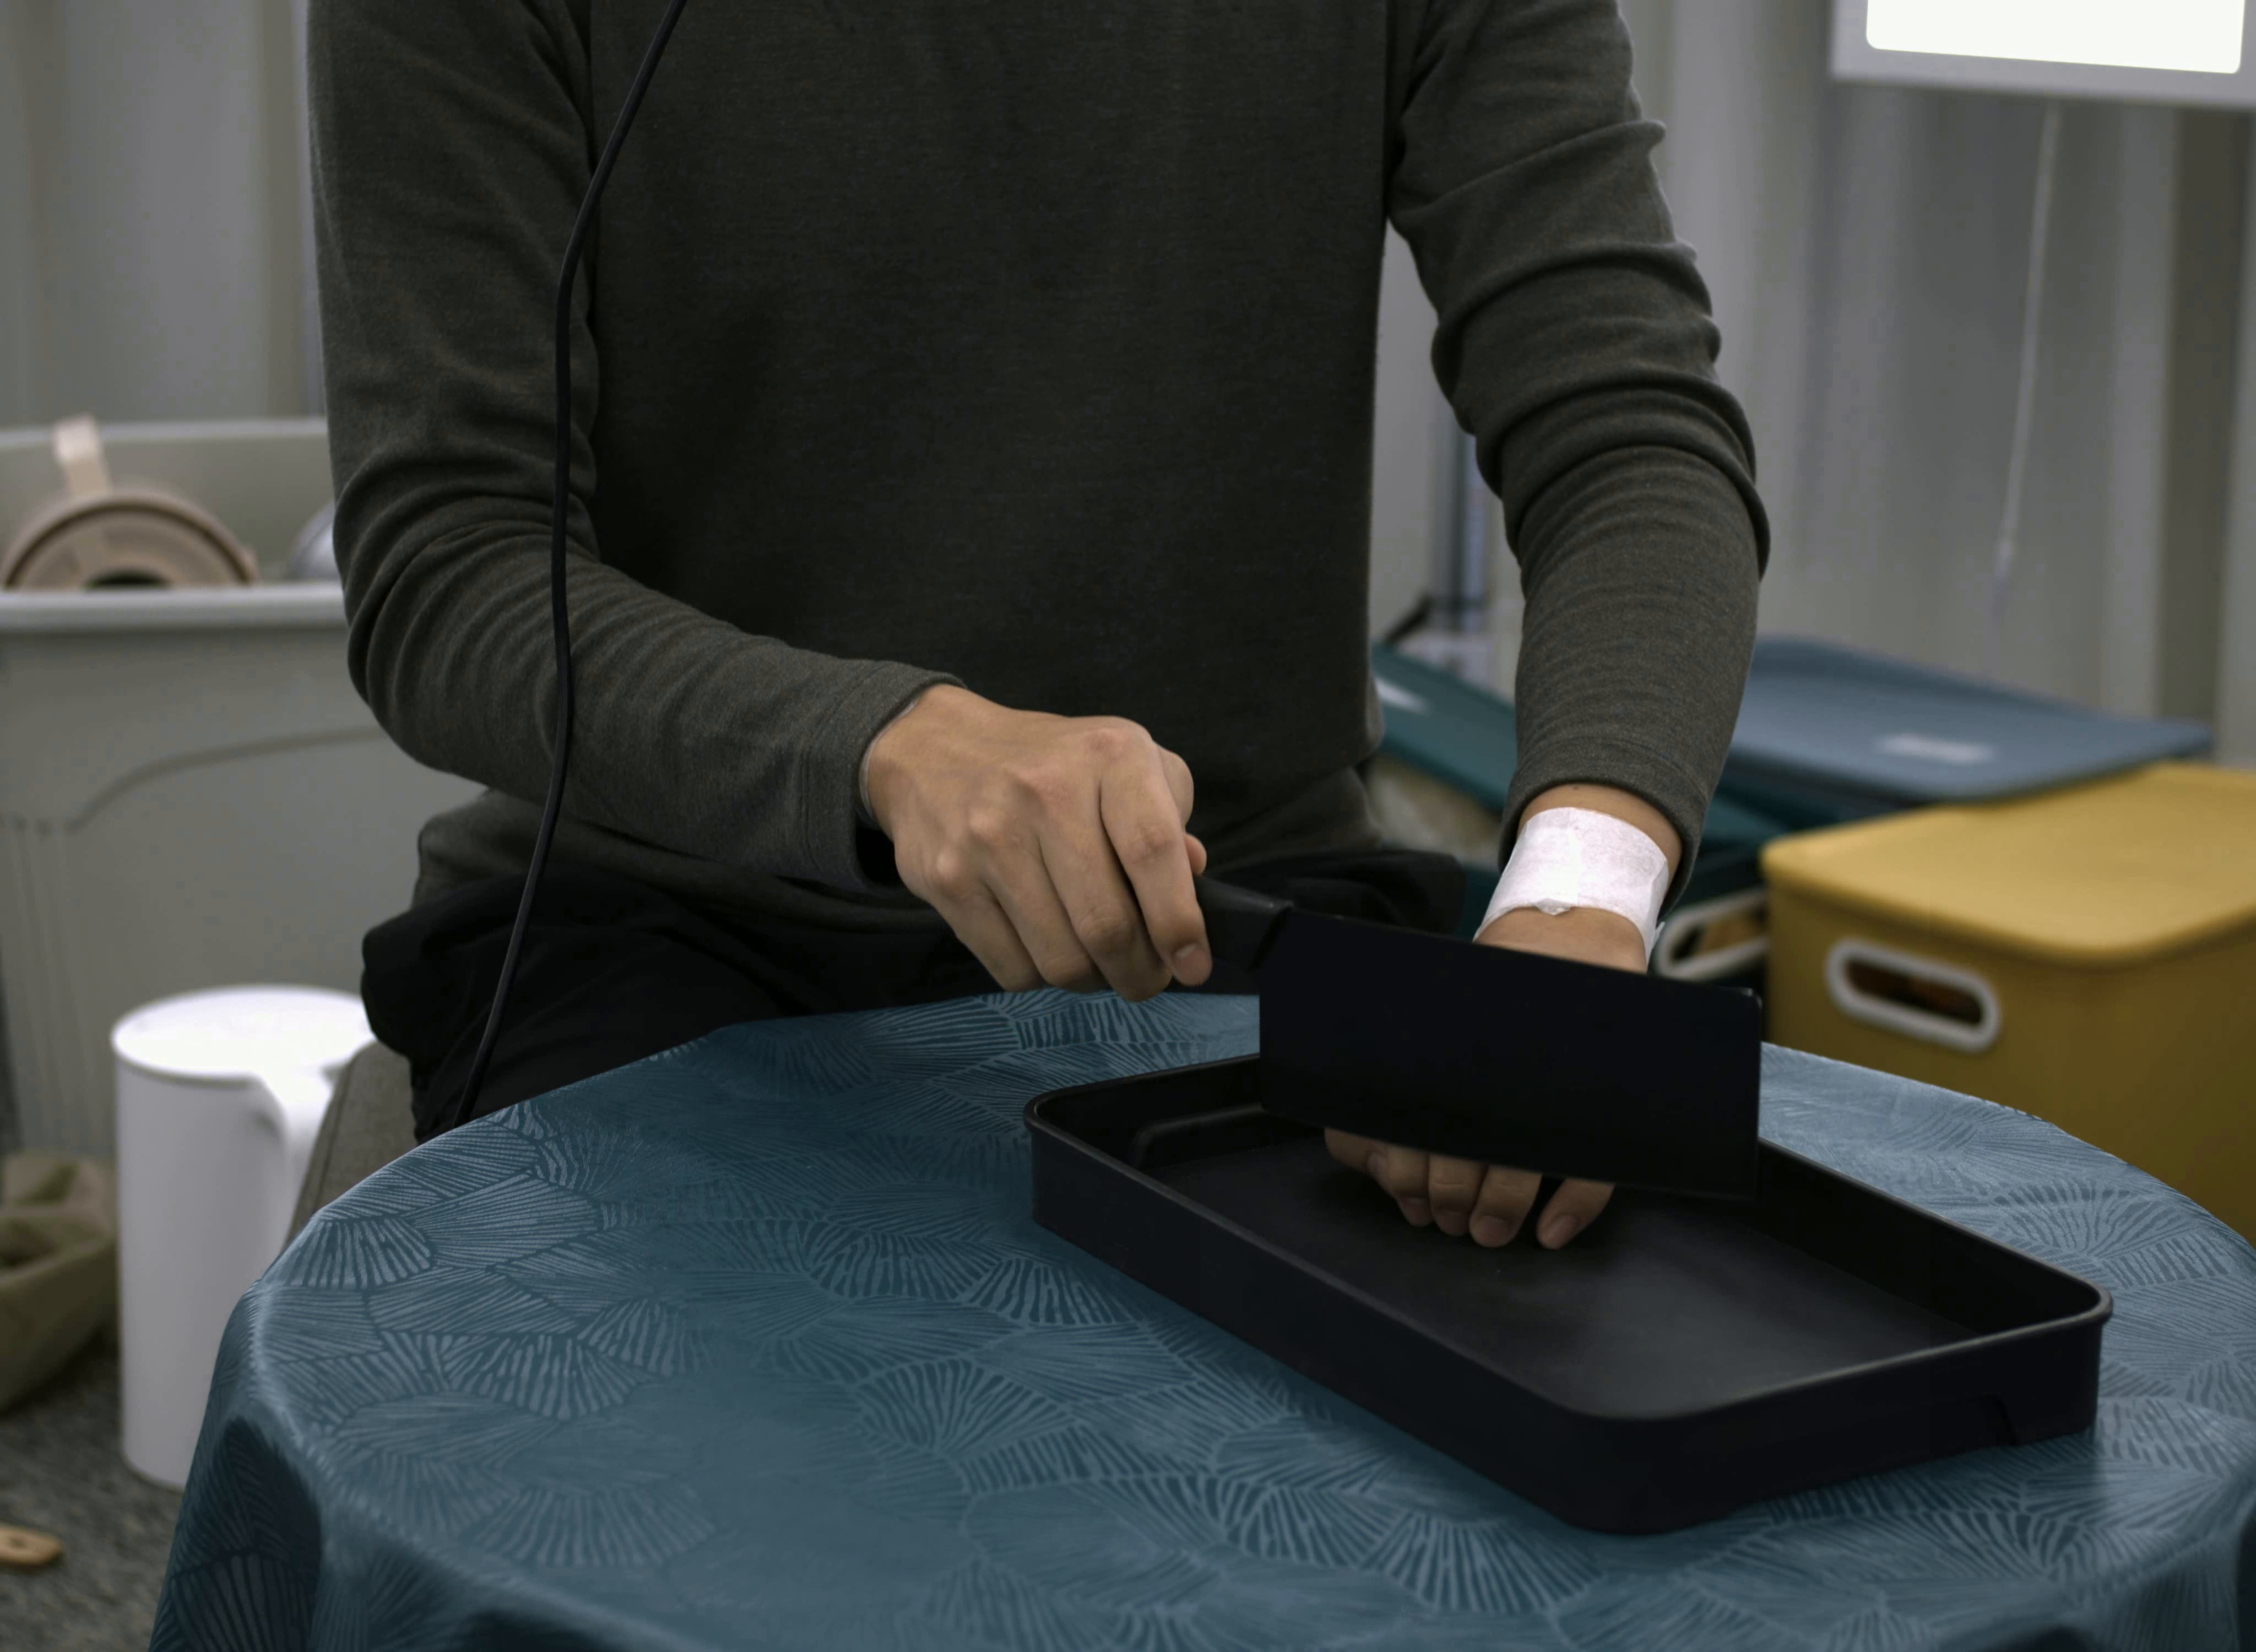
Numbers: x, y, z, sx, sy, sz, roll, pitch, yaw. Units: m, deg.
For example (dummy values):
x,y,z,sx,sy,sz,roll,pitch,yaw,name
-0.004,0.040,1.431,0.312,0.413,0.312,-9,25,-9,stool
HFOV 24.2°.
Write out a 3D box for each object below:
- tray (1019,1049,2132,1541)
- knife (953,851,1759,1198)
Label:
x,y,z,sx,sy,sz,roll,pitch,yaw,name
0.121,0.123,1.520,0.185,0.037,0.314,-9,18,-32,tray
0.063,0.054,1.568,0.298,0.081,0.021,15,19,37,knife
